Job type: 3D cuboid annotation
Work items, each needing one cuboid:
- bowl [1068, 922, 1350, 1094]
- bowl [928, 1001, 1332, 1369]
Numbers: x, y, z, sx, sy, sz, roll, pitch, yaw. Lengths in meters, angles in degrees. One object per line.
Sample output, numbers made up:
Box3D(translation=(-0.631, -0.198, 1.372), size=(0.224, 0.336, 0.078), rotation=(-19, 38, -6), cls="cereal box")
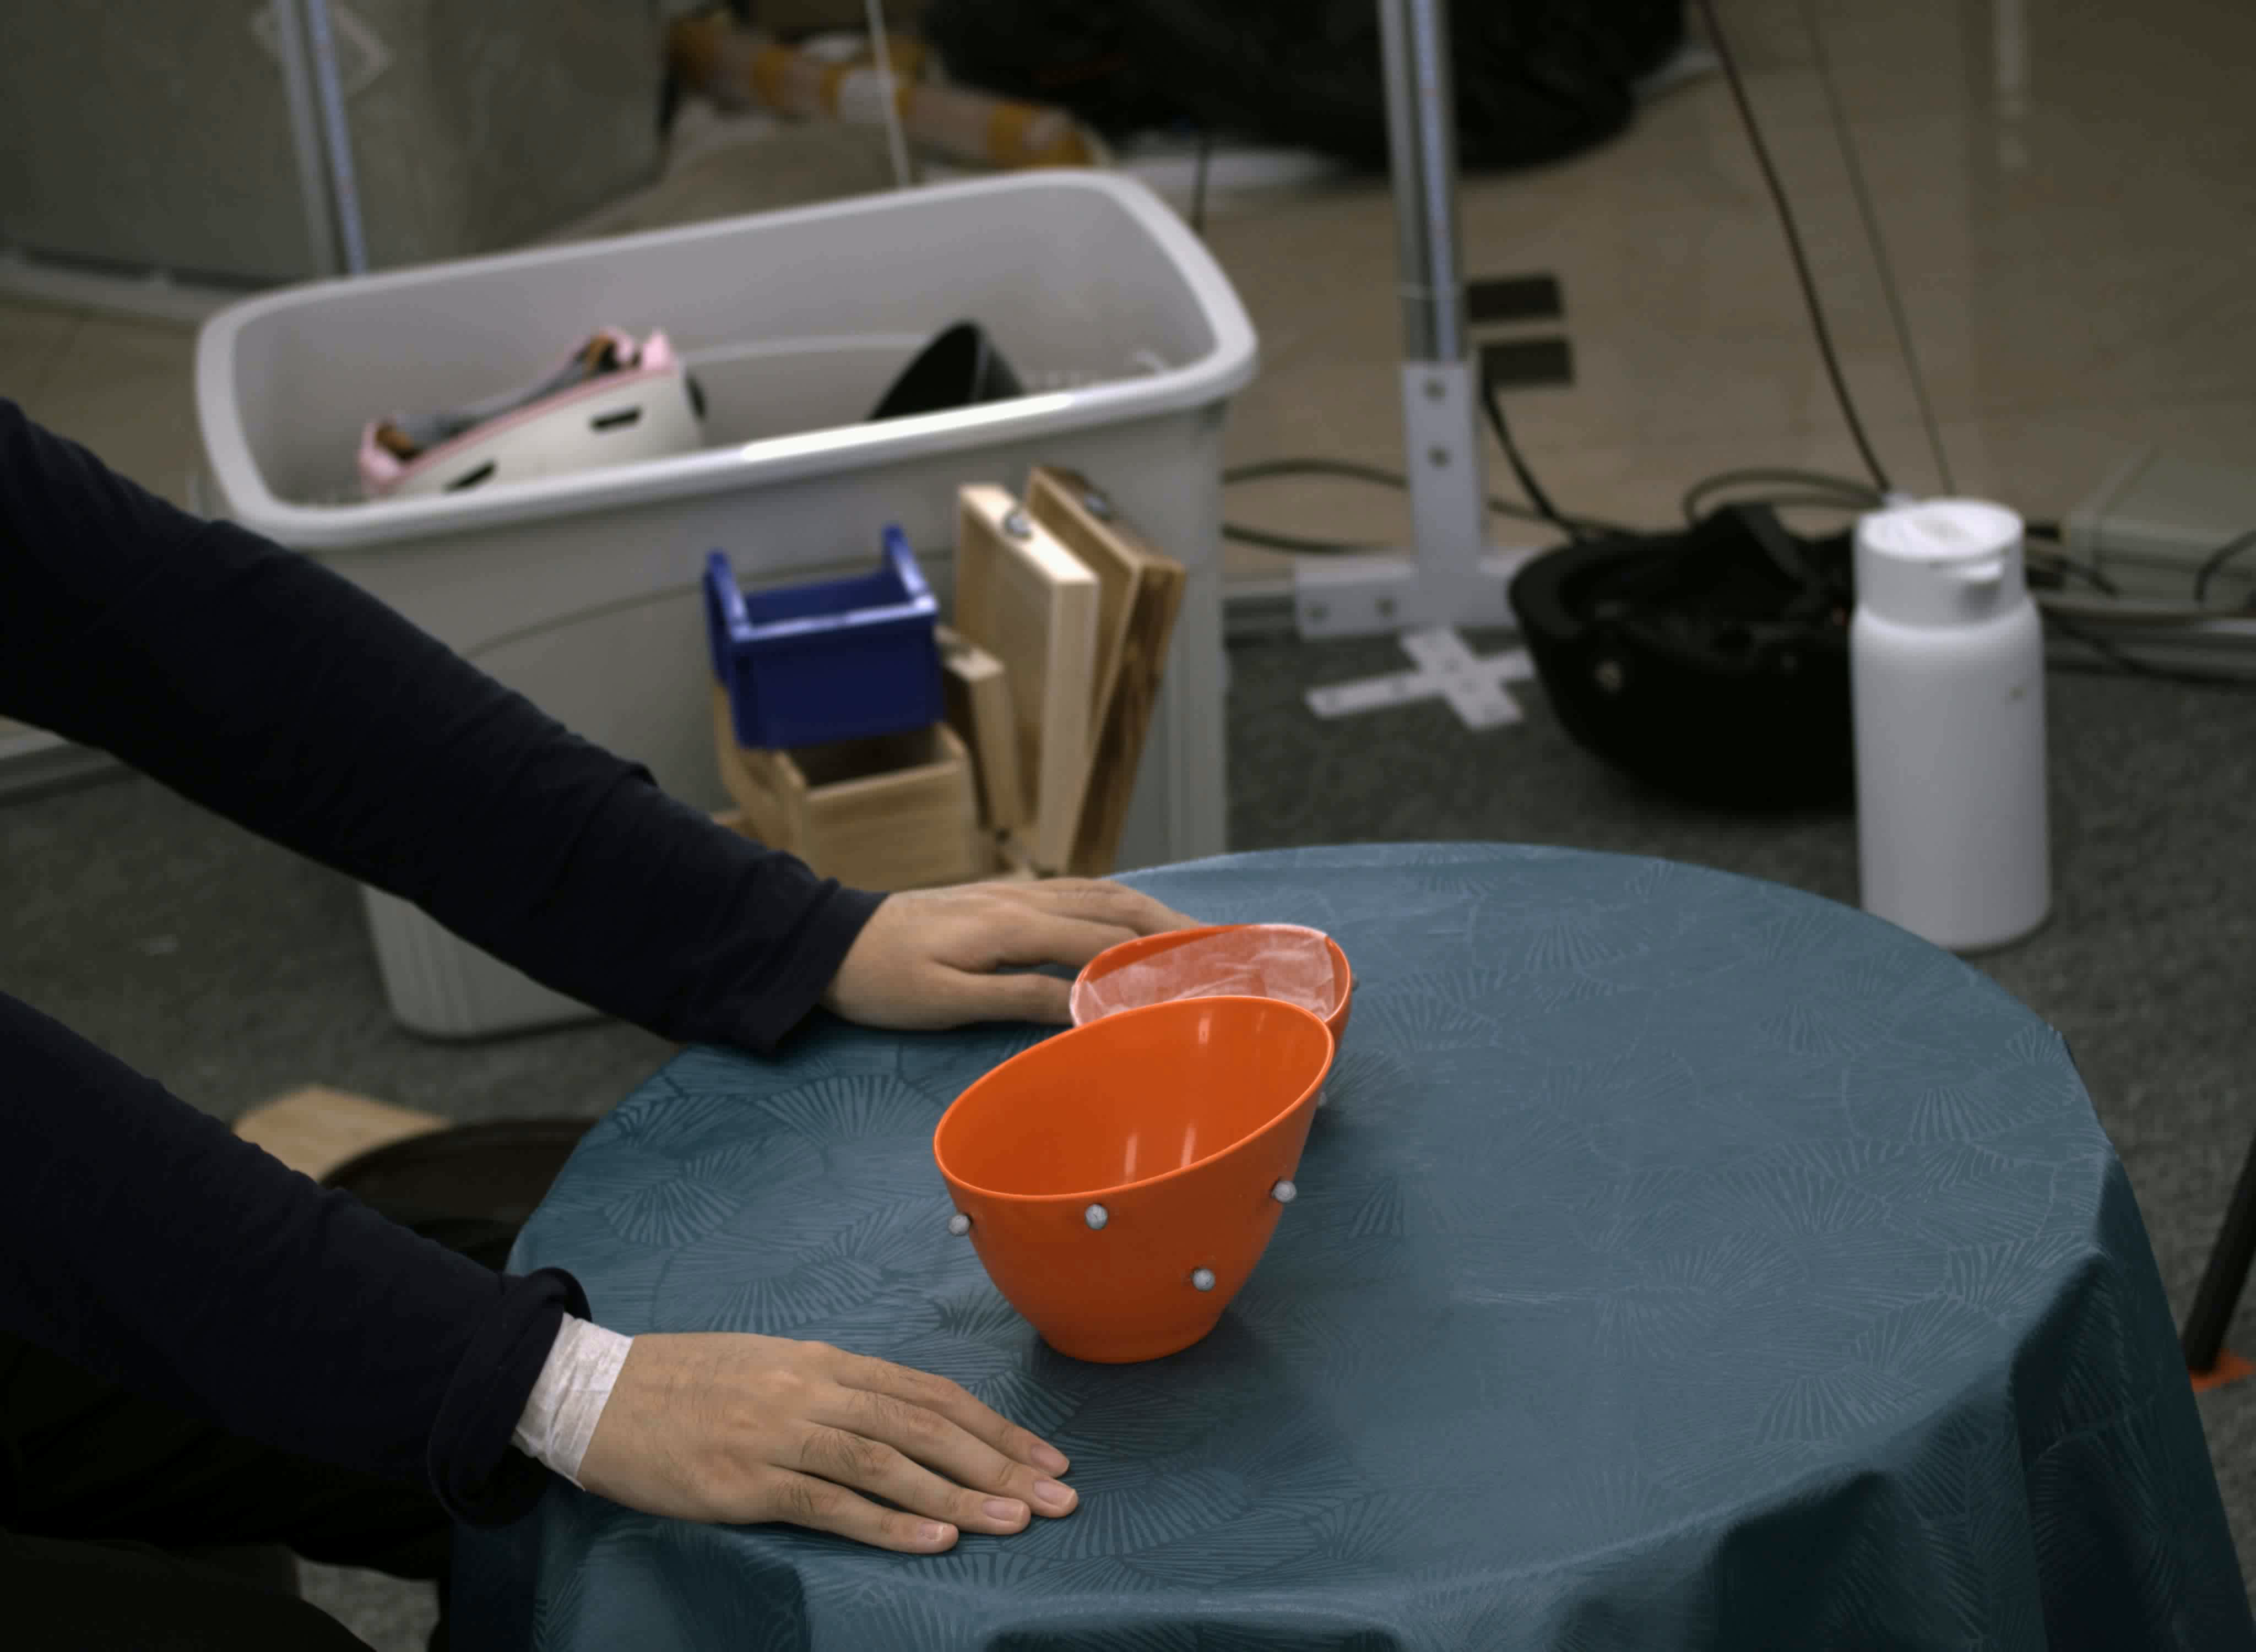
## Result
Box3D(translation=(0.034, 0.085, 2.201), size=(0.119, 0.052, 0.117), rotation=(-6, 26, 3), cls="bowl")
Box3D(translation=(0.004, 0.135, 2.039), size=(0.148, 0.106, 0.146), rotation=(-5, 26, 3), cls="bowl")
